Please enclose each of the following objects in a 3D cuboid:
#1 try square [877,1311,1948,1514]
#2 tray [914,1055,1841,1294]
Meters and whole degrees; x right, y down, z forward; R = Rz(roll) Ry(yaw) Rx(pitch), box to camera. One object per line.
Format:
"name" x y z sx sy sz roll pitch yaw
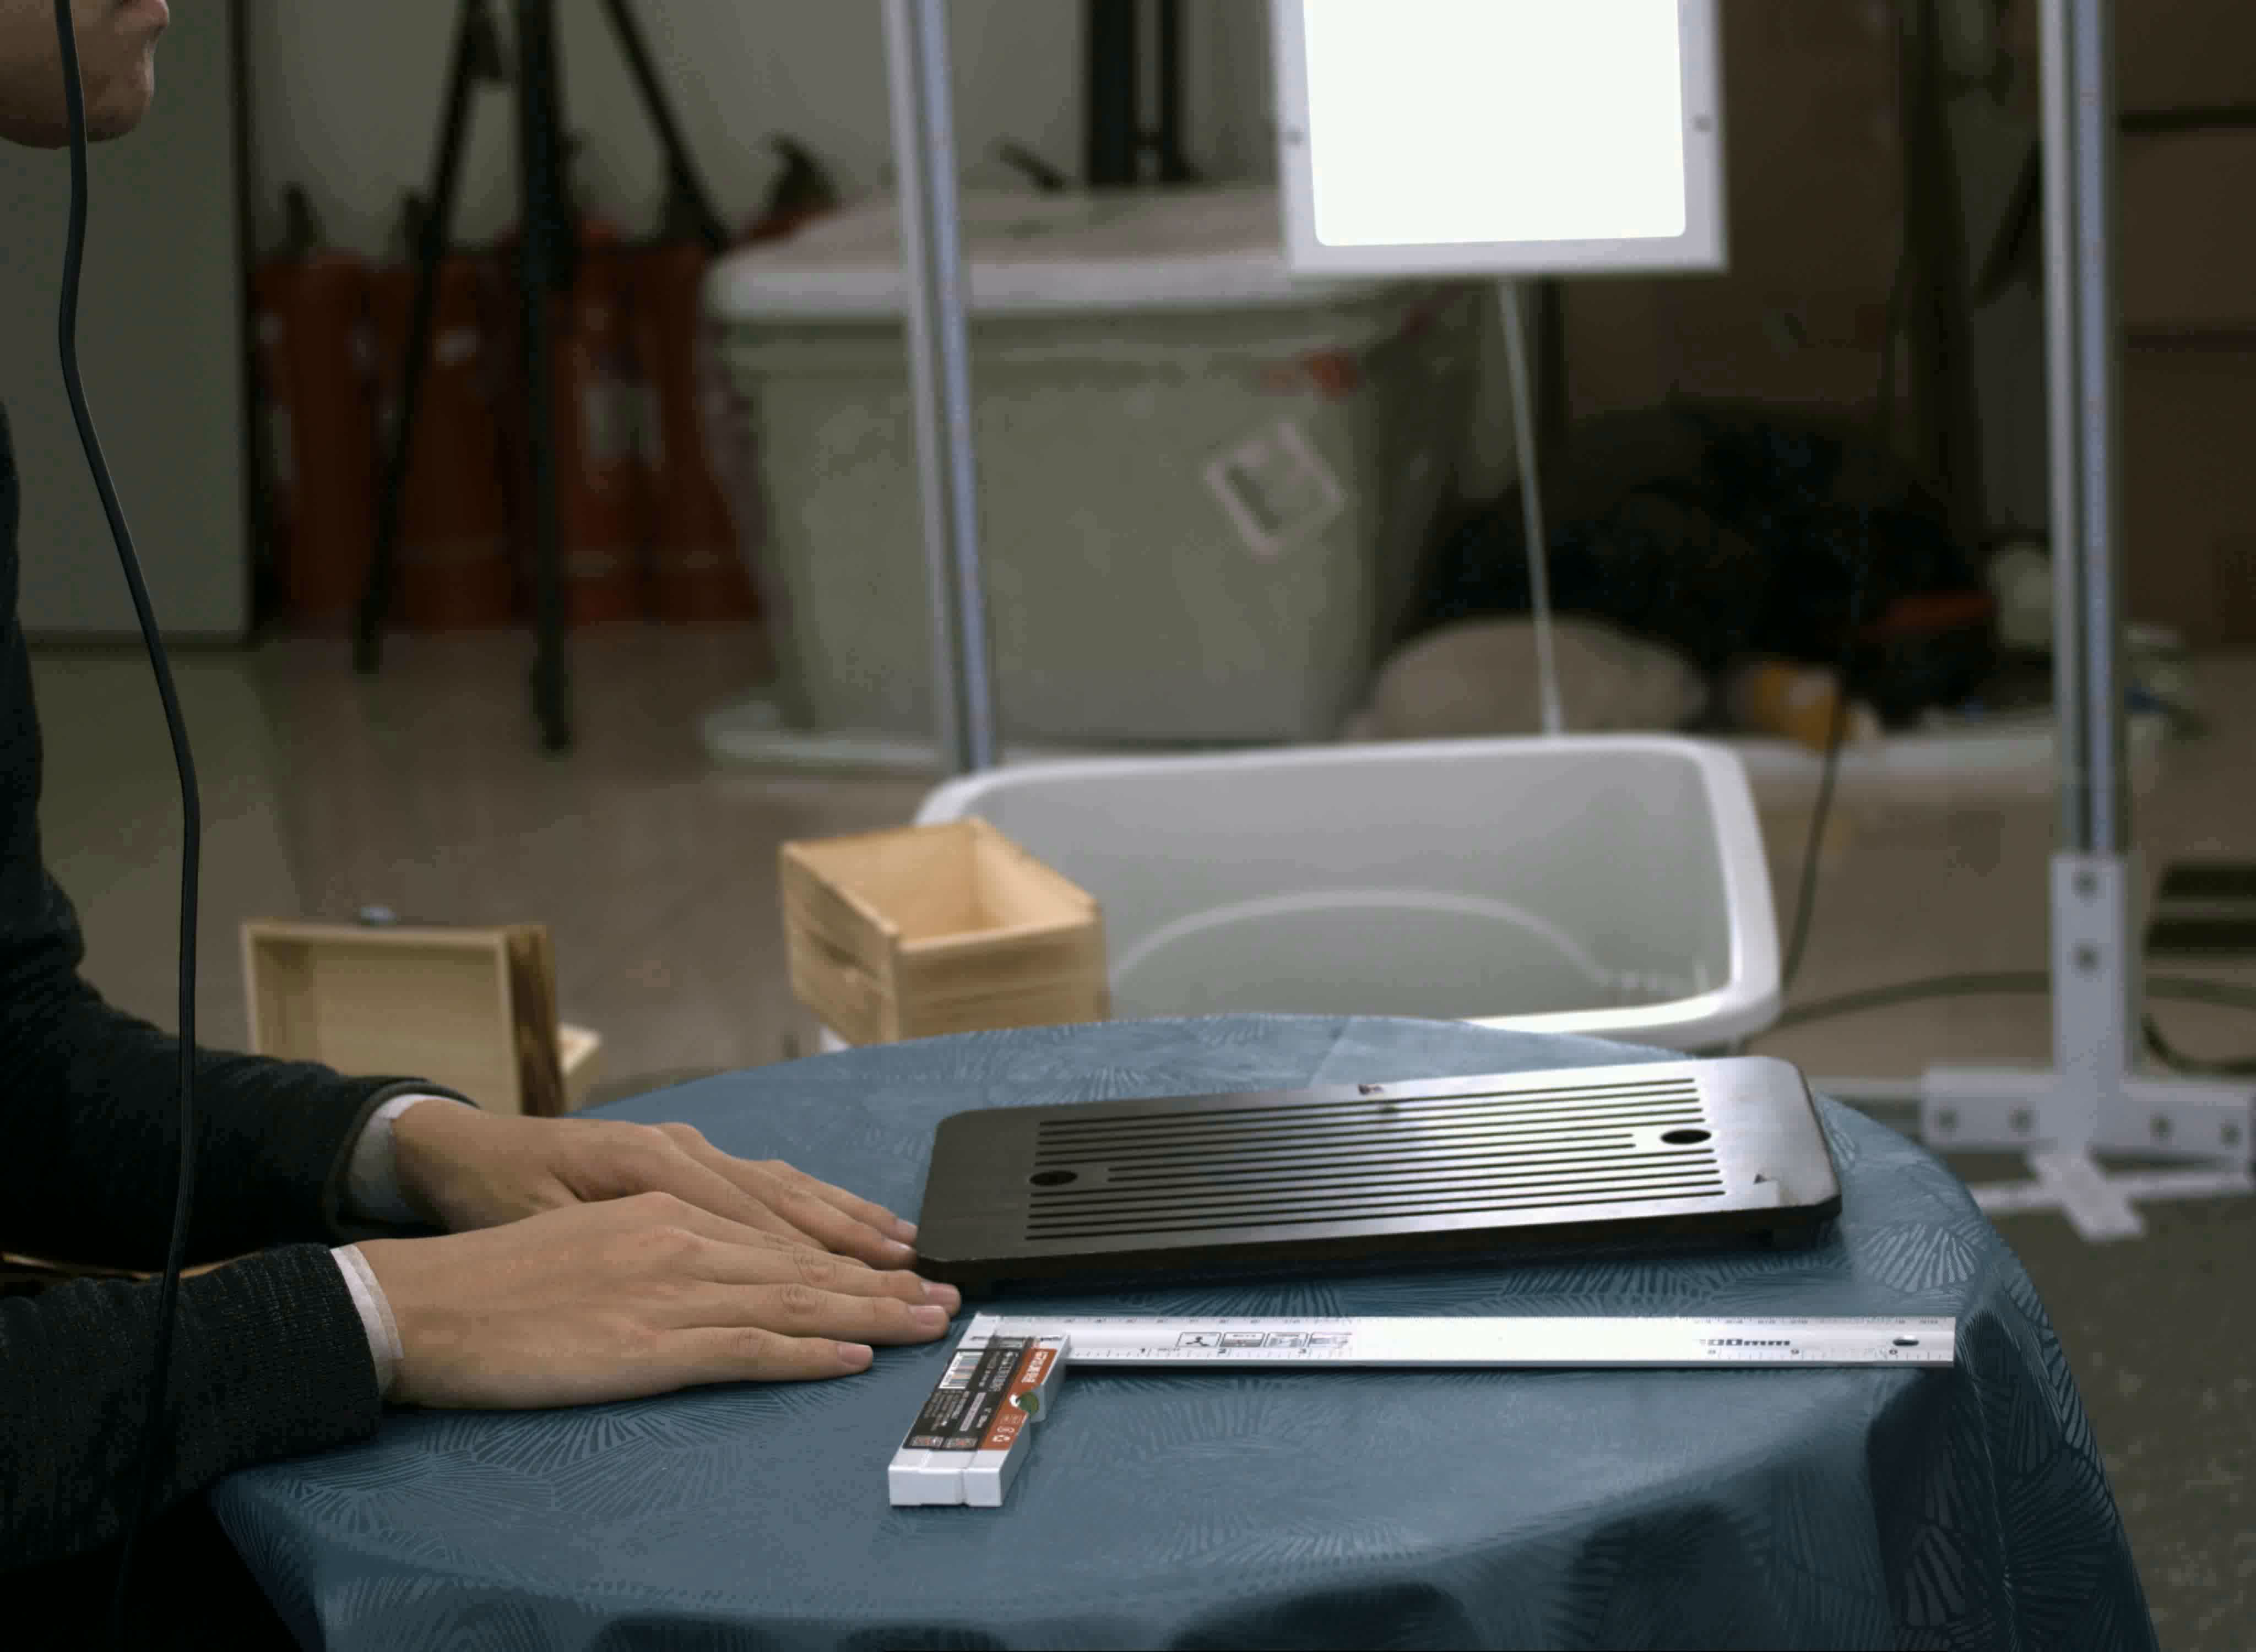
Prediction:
"try square" 0.090 0.174 1.658 0.315 0.016 0.150 -1 15 12
"tray" 0.083 0.118 1.864 0.306 0.019 0.169 -4 14 5
